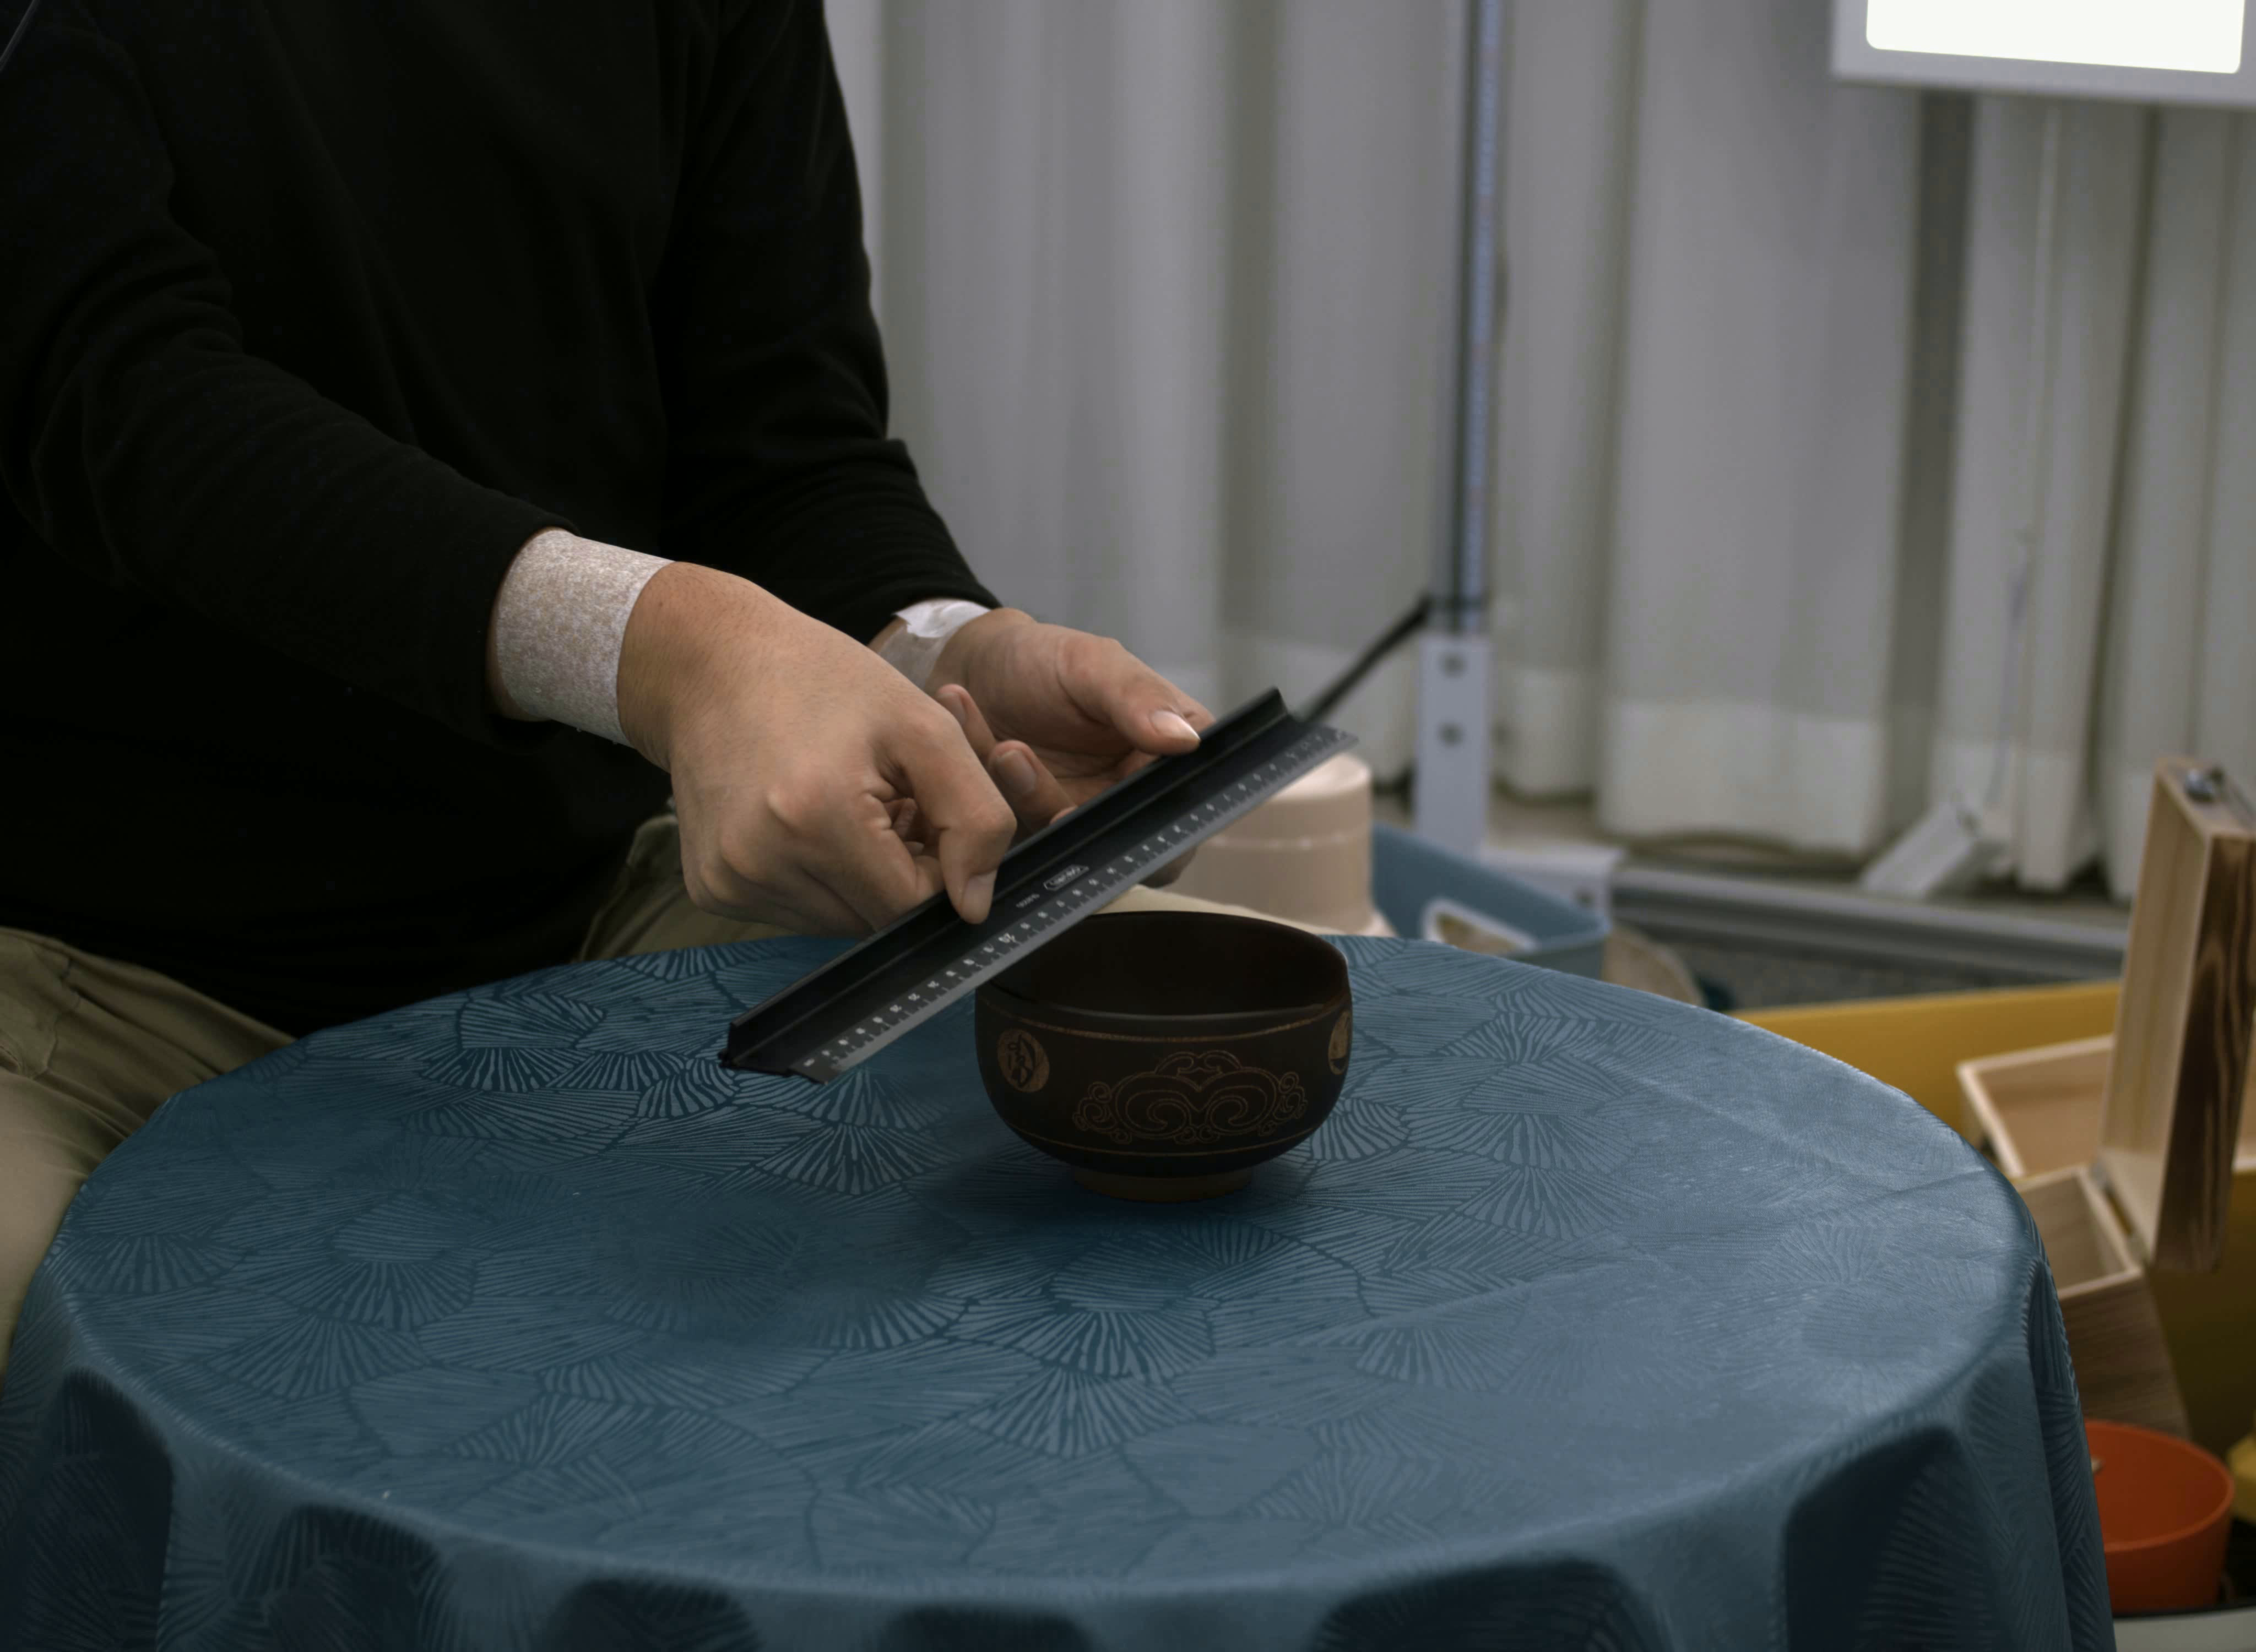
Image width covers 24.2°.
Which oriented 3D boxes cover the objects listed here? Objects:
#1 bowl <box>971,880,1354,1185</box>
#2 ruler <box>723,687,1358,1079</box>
[{"bbox_3d":[0.009,0.068,1.627,0.118,0.070,0.117,5,20,-1],"label":"bowl"},{"bbox_3d":[-0.021,0.013,1.617,0.039,0.017,0.313,9,24,31],"label":"ruler"}]
